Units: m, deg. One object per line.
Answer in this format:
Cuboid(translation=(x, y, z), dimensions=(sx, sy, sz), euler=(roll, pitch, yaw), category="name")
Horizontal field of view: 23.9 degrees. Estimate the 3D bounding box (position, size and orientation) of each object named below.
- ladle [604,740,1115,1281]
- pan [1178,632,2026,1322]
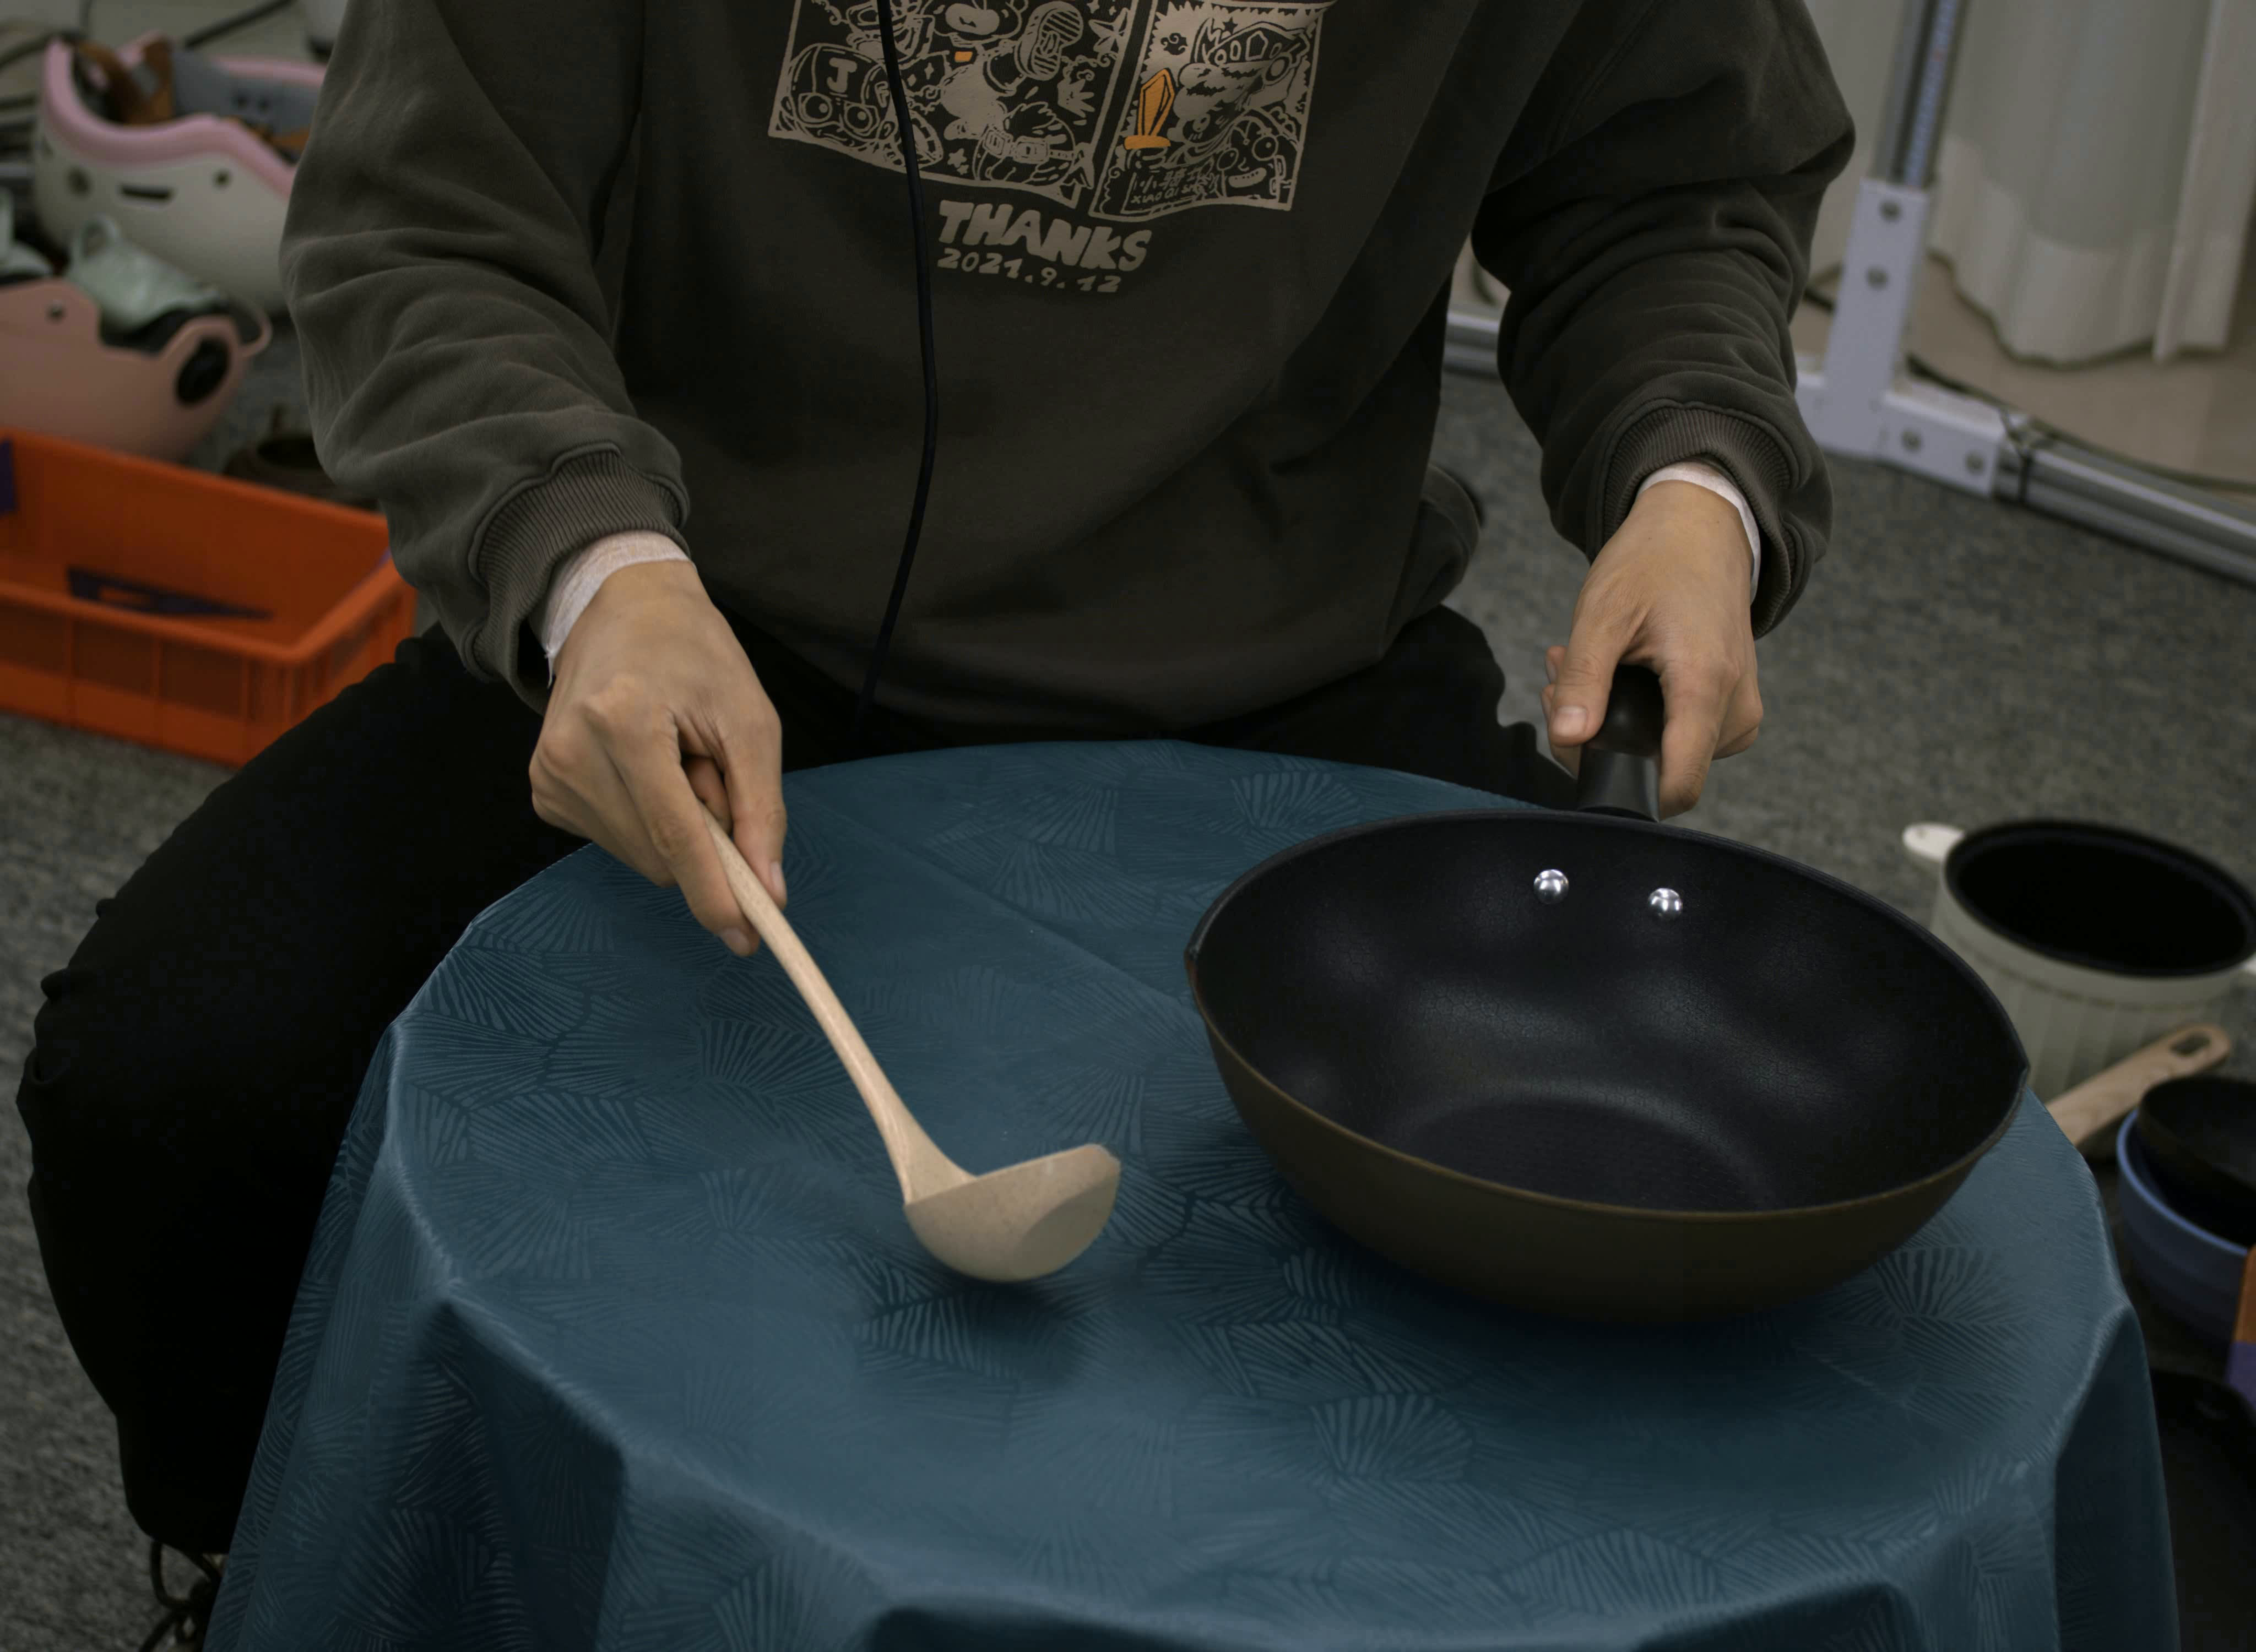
Cuboid(translation=(-0.093, 0.041, 1.759), dimensions=(0.072, 0.072, 0.256), euler=(-15, 58, -40), category="ladle")
Cuboid(translation=(0.165, 0.053, 1.889), dimensions=(0.287, 0.086, 0.465), euler=(8, 25, 3), category="pan")
